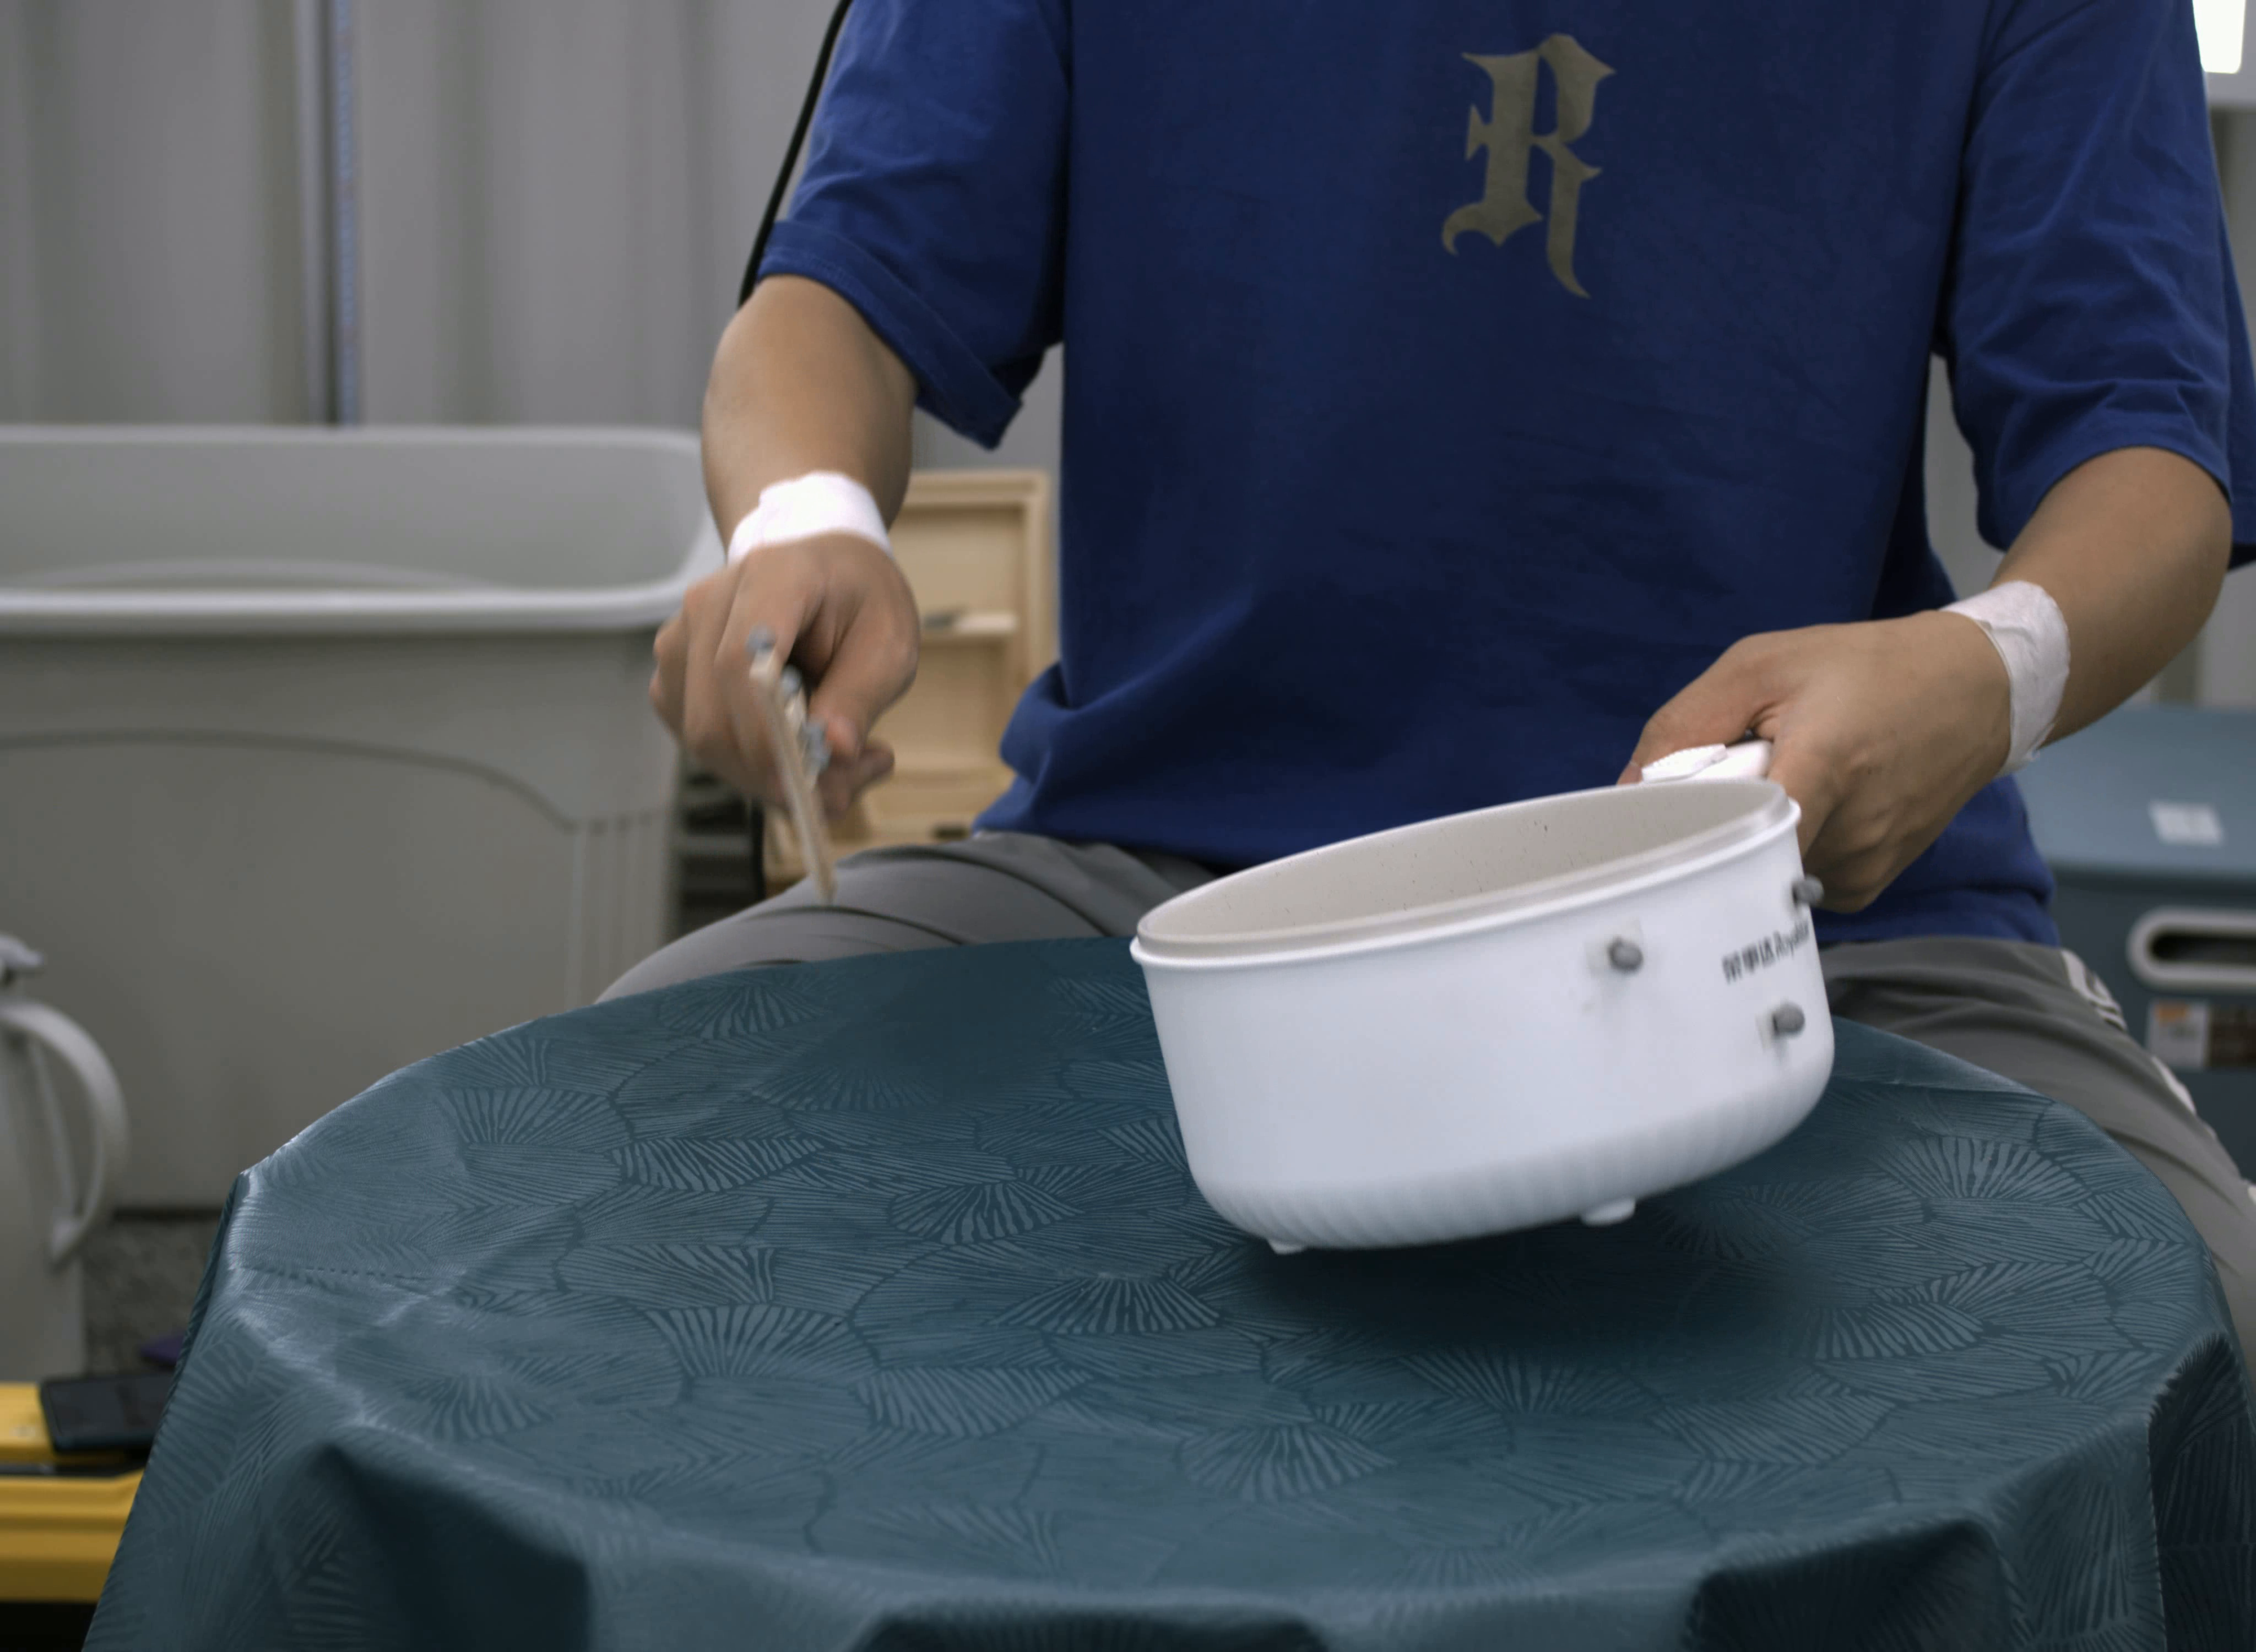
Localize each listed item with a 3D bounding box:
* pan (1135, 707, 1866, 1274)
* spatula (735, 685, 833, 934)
[{"bbox_3d":[0.147,0.046,1.614,0.199,0.102,0.356,-10,7,31],"label":"pan"},{"bbox_3d":[-0.104,-0.018,1.635,0.010,0.072,0.292,-18,7,0],"label":"spatula"}]
